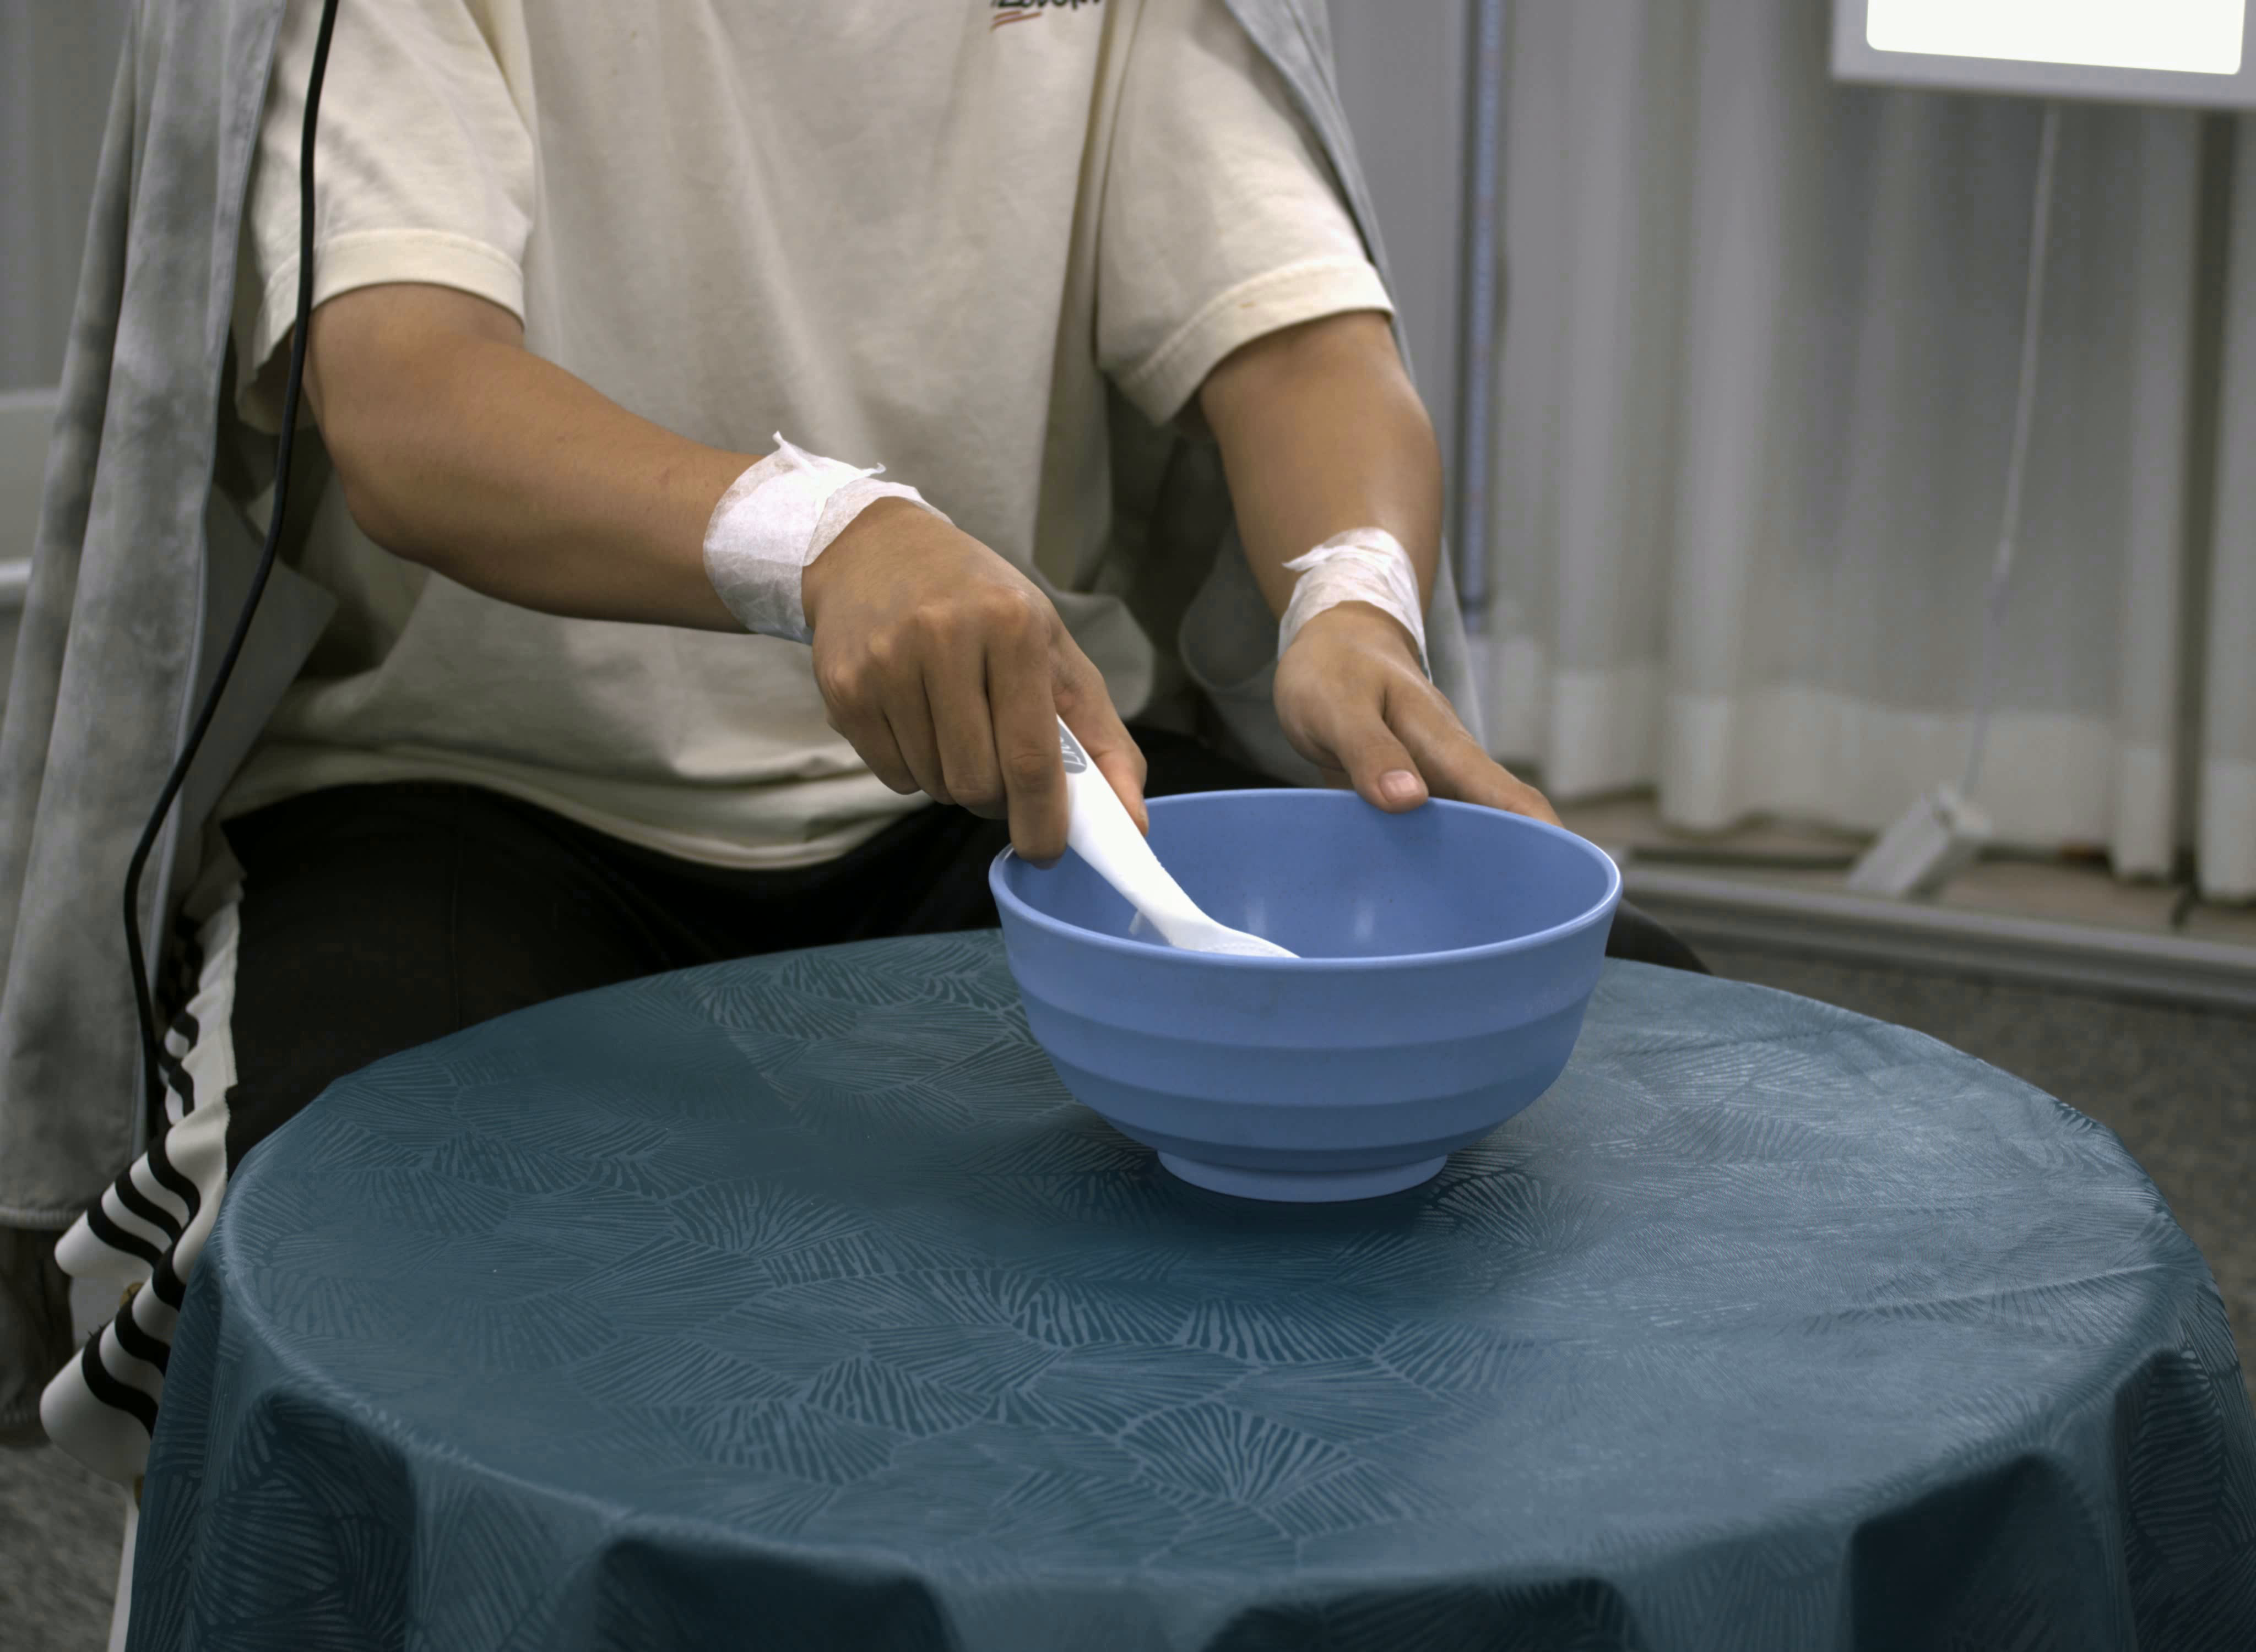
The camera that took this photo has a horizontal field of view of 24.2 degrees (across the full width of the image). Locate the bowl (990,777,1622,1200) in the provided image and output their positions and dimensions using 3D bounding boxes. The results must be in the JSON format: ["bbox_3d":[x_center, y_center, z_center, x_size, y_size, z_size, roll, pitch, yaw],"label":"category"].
[{"bbox_3d":[0.055,0.056,1.646,0.196,0.096,0.195,0,18,0],"label":"bowl"}]

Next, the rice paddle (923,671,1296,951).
[{"bbox_3d":[0.017,0.028,1.644,0.203,0.029,0.069,44,39,16],"label":"rice paddle"}]
